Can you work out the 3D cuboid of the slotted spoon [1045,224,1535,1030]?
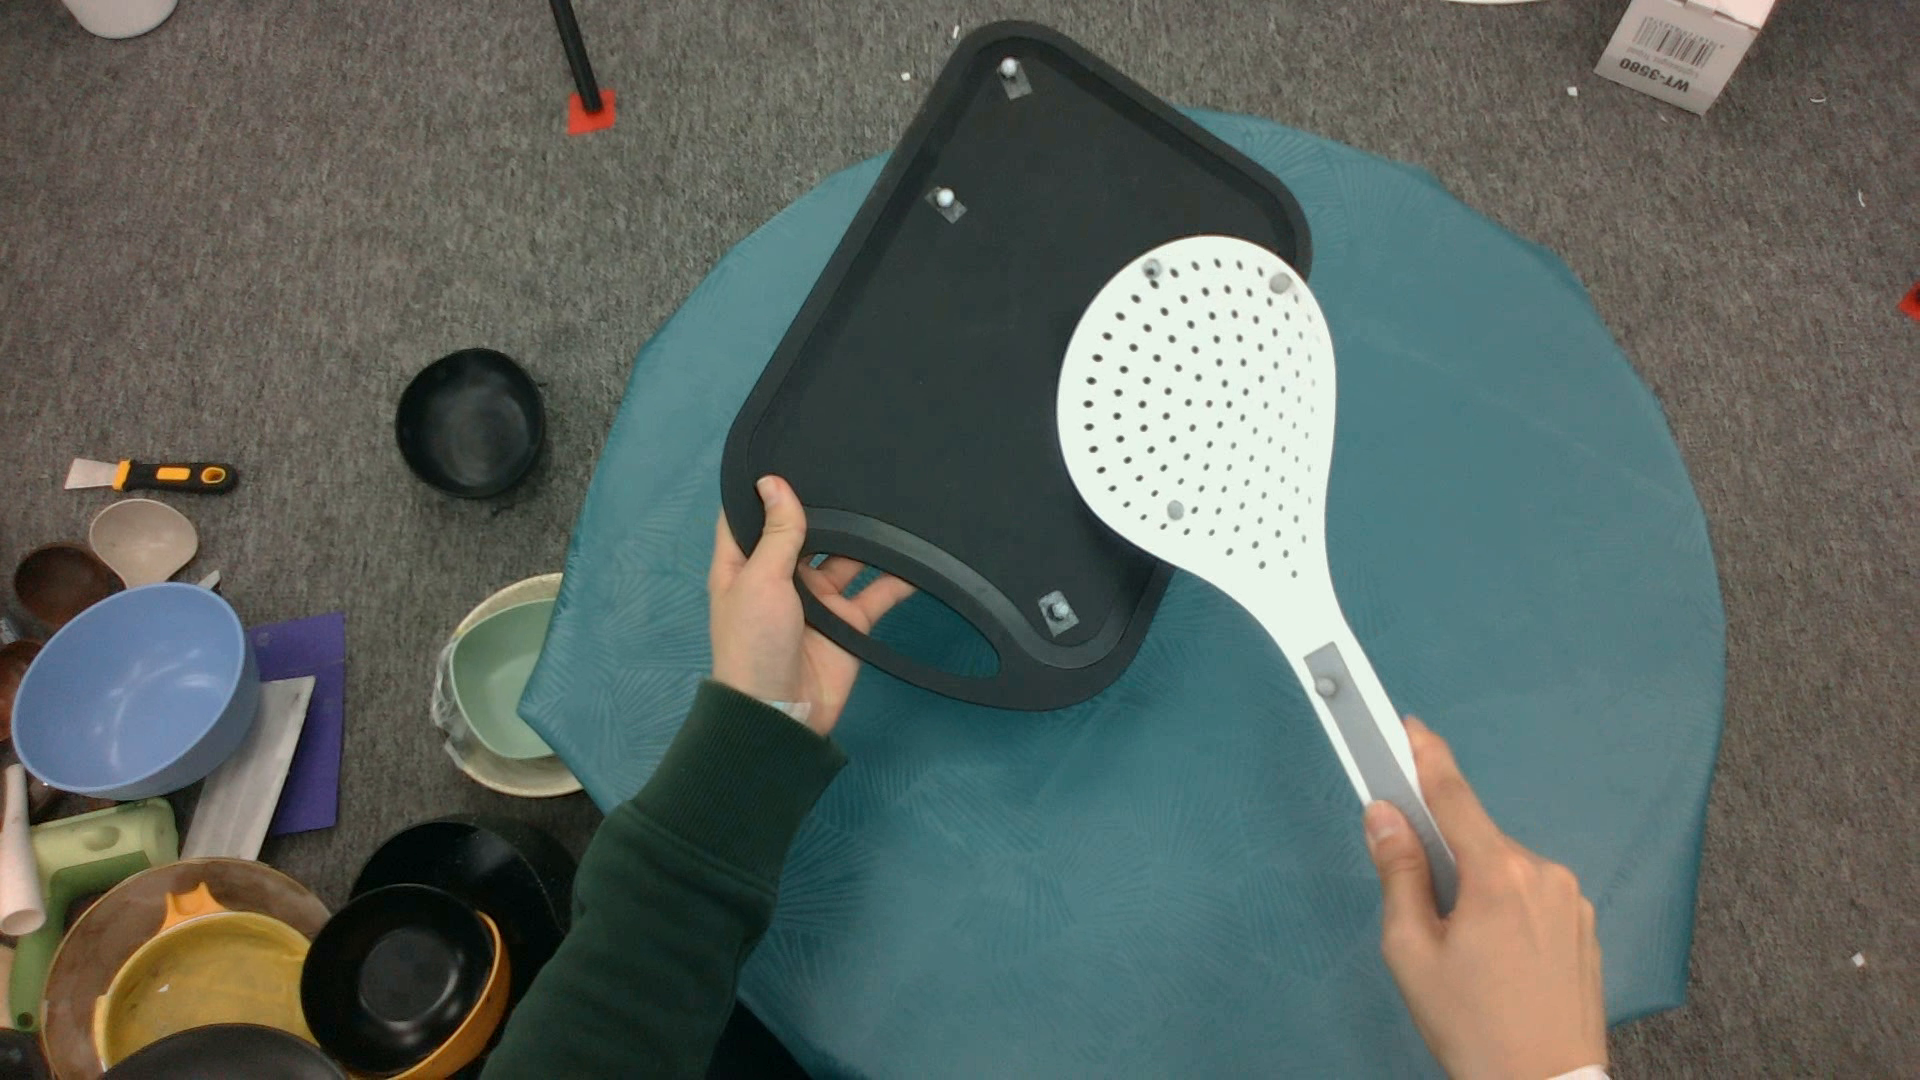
[{"bbox_3d":[0.137,0.026,0.565,0.046,0.135,0.350,7,54,-47],"label":"slotted spoon"}]

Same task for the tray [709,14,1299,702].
[{"bbox_3d":[0.029,-0.088,0.642,0.211,0.010,0.326,30,71,-8],"label":"tray"}]
